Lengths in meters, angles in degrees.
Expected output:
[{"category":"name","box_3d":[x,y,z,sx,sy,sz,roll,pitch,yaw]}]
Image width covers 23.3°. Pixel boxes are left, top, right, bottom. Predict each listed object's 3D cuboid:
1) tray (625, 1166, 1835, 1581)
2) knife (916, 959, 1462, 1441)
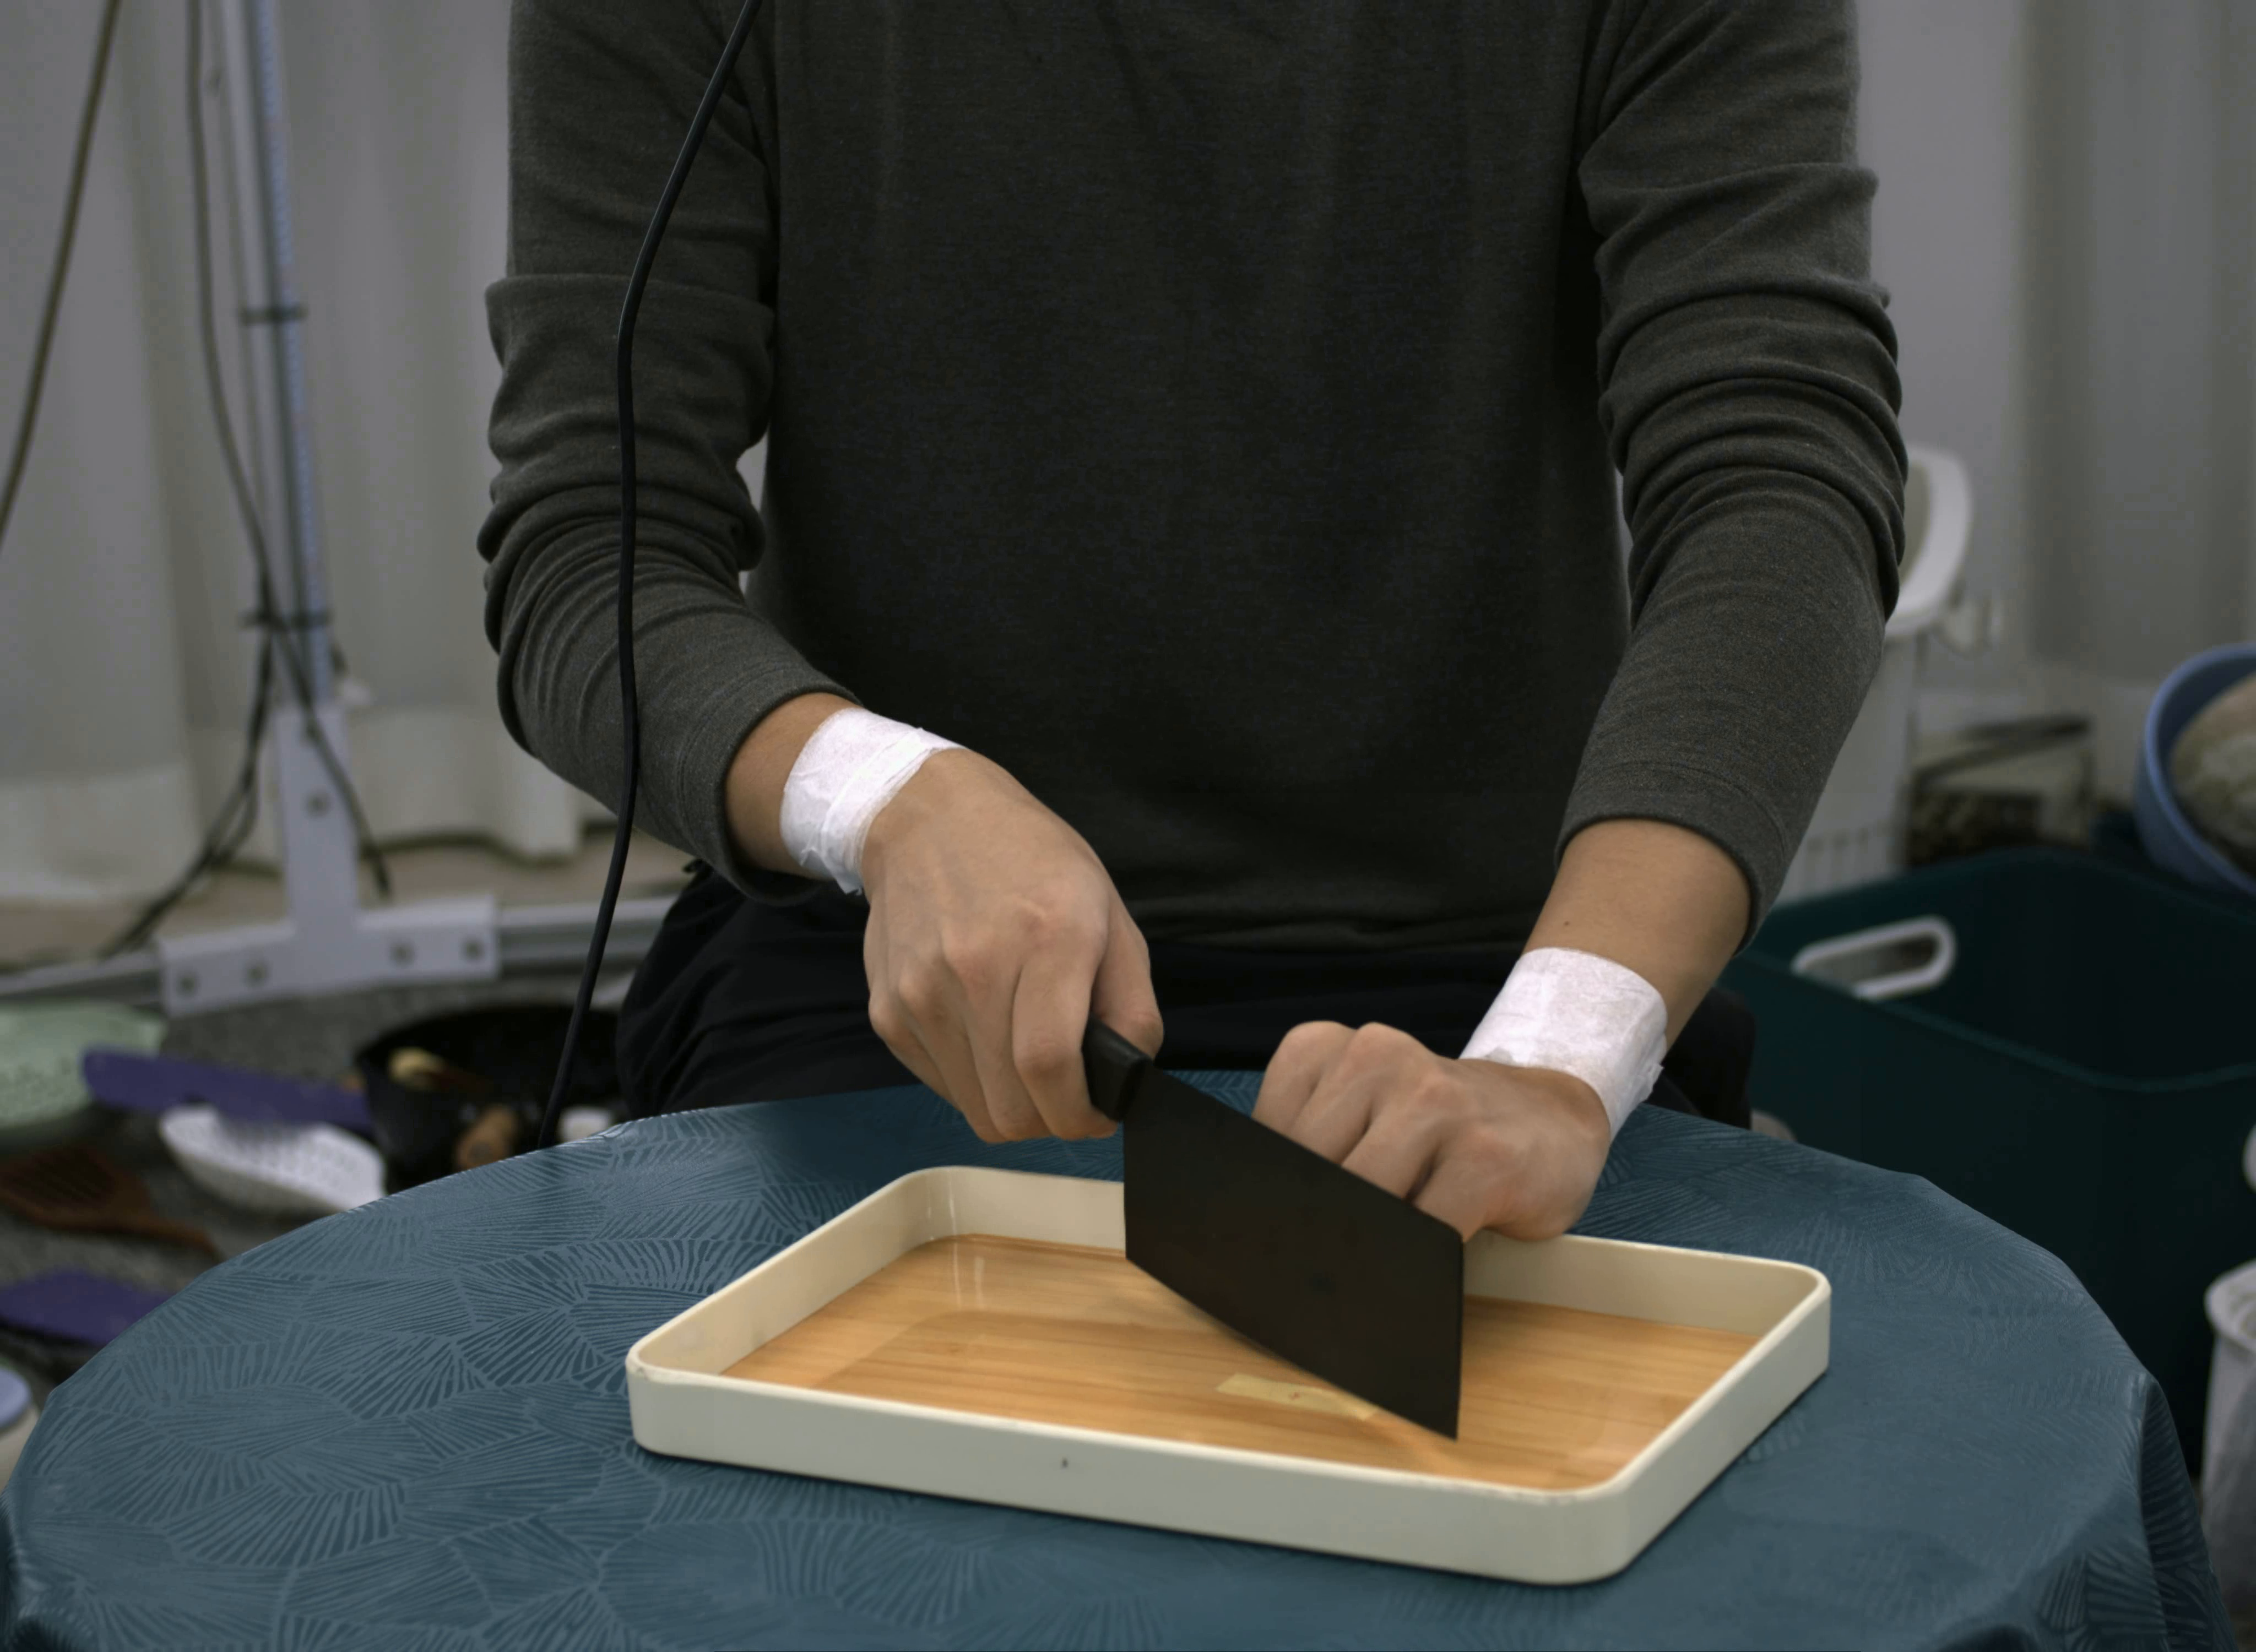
[{"category":"tray","box_3d":[0.029,0.149,1.530,0.301,0.027,0.192,5,16,27]},{"category":"knife","box_3d":[0.014,0.100,1.577,0.021,0.080,0.305,-6,20,-29]}]
